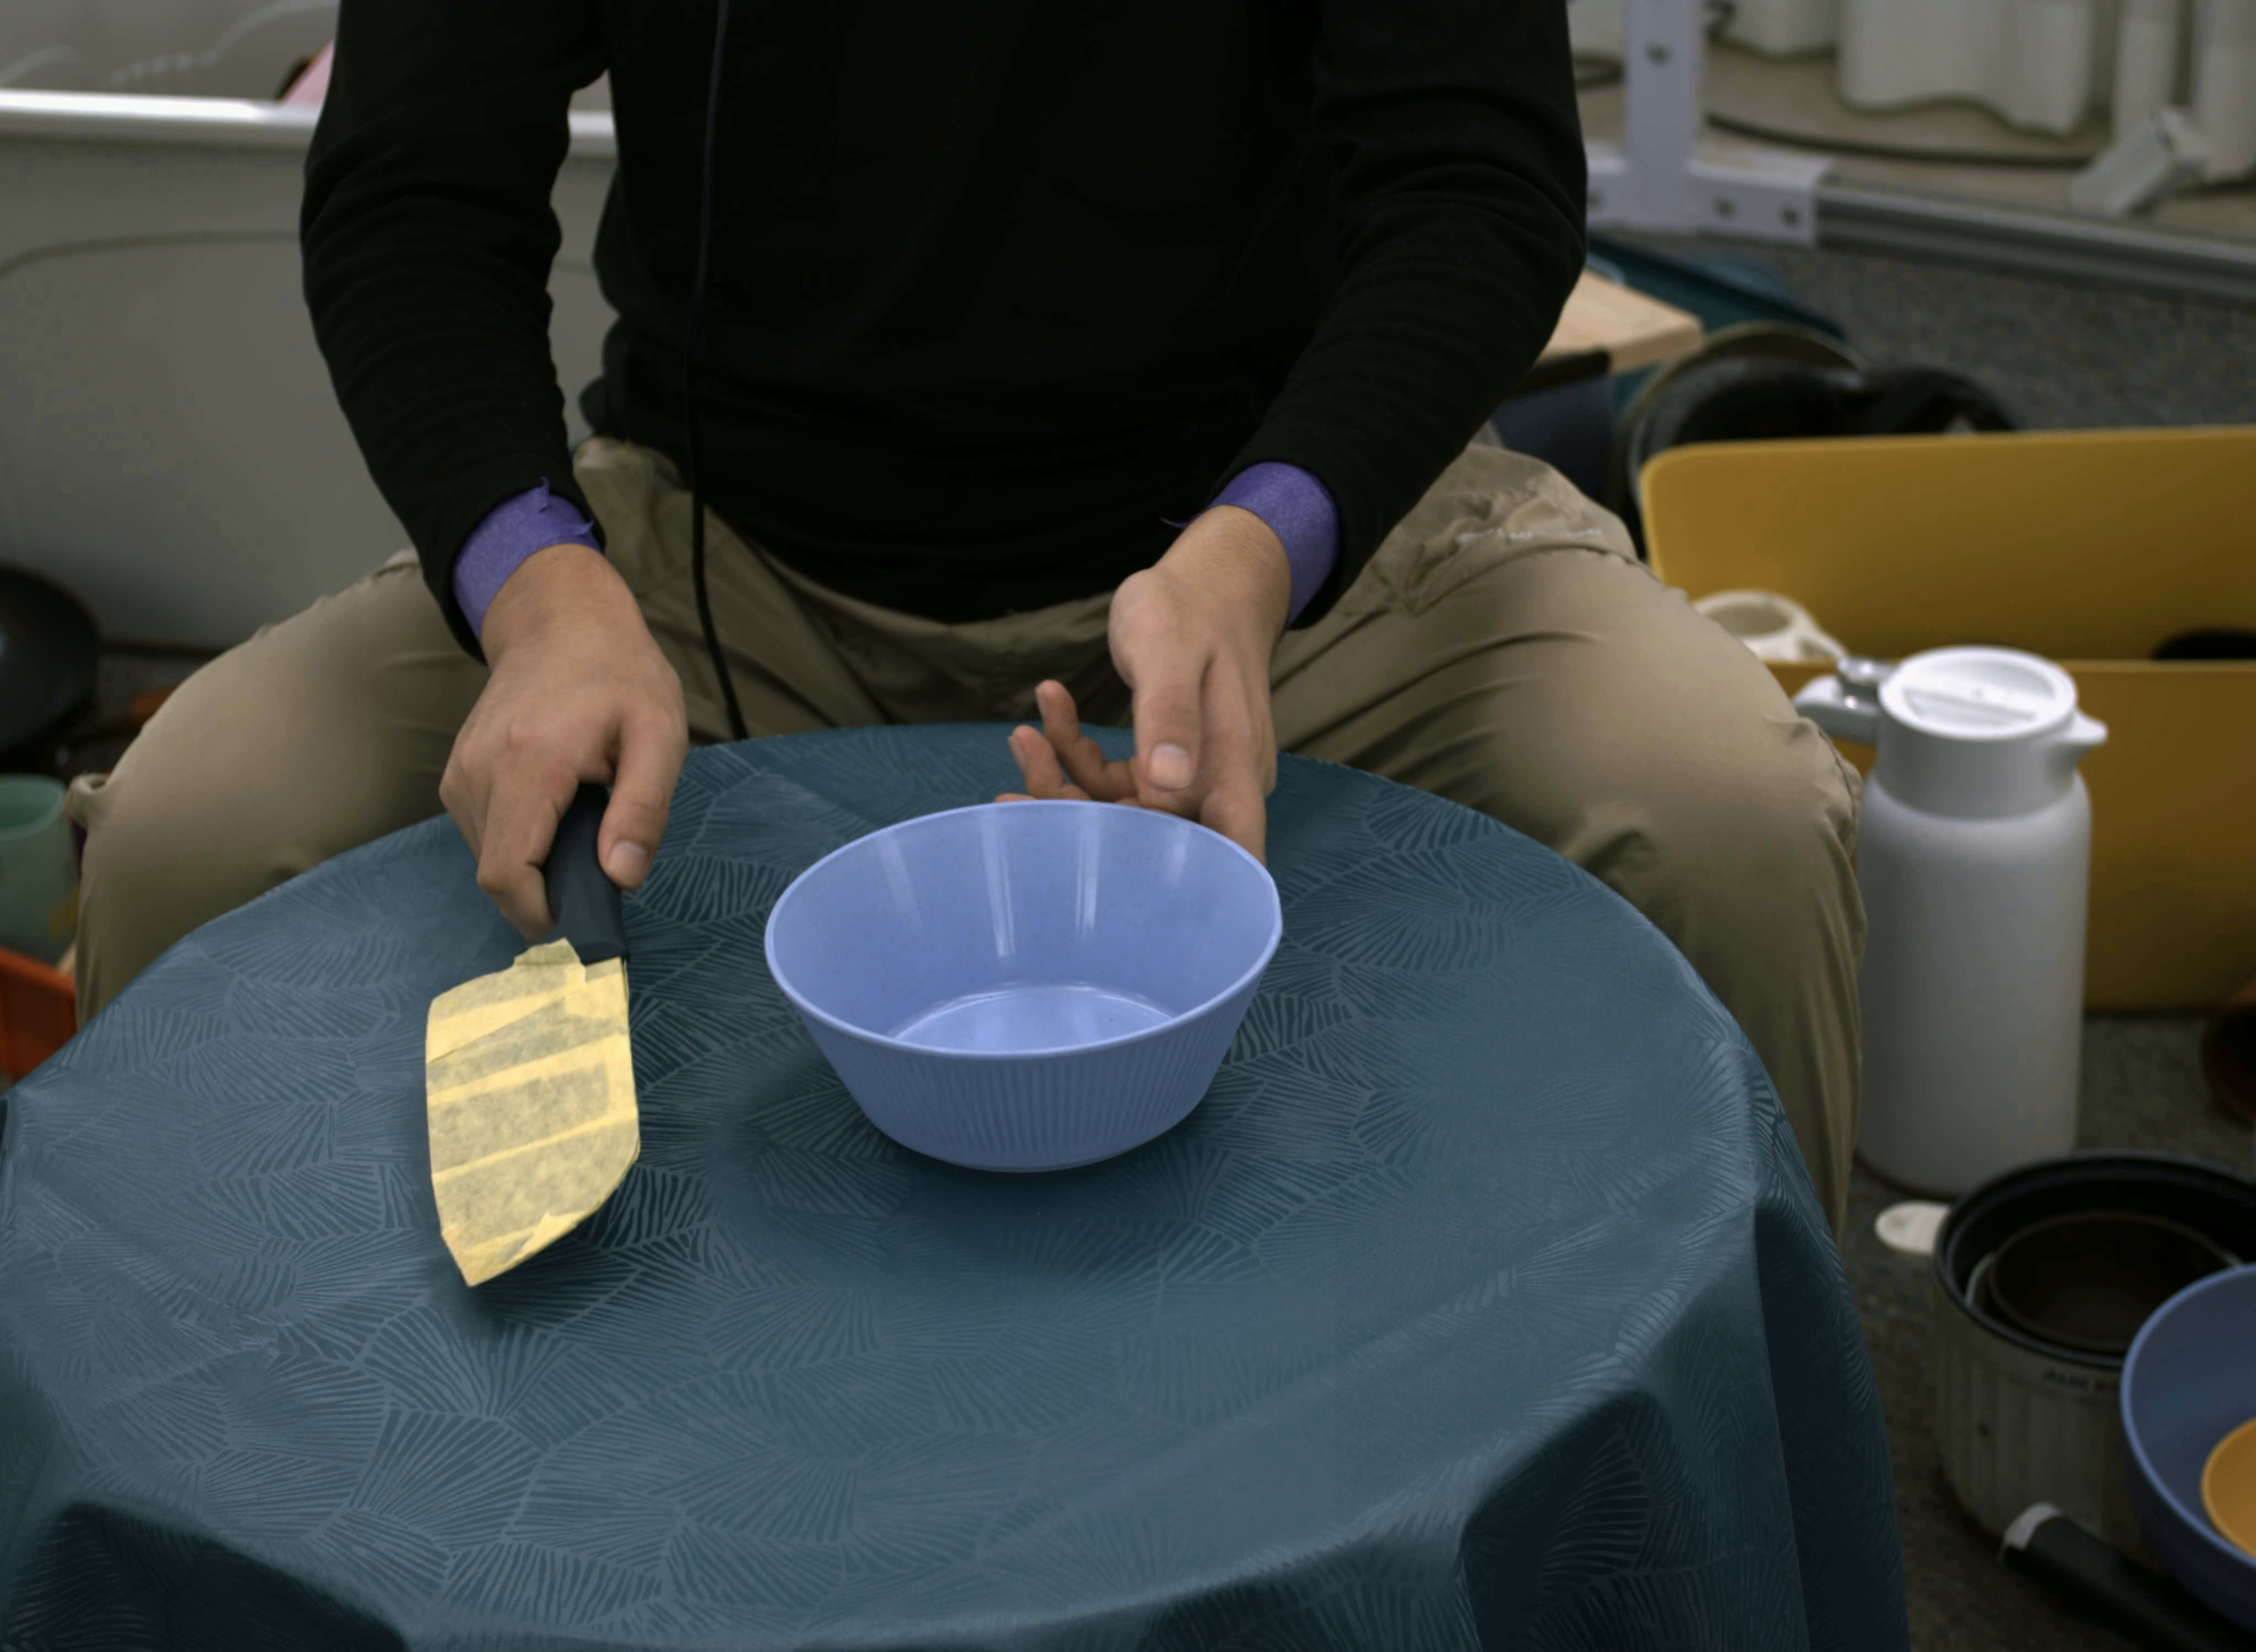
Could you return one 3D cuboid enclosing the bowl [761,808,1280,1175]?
[{"bbox_3d":[-0.035,0.062,1.905,0.175,0.069,0.179,-3,27,2],"label":"bowl"}]

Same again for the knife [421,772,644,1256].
[{"bbox_3d":[-0.203,0.063,1.921,0.080,0.027,0.294,-14,30,3],"label":"knife"}]
